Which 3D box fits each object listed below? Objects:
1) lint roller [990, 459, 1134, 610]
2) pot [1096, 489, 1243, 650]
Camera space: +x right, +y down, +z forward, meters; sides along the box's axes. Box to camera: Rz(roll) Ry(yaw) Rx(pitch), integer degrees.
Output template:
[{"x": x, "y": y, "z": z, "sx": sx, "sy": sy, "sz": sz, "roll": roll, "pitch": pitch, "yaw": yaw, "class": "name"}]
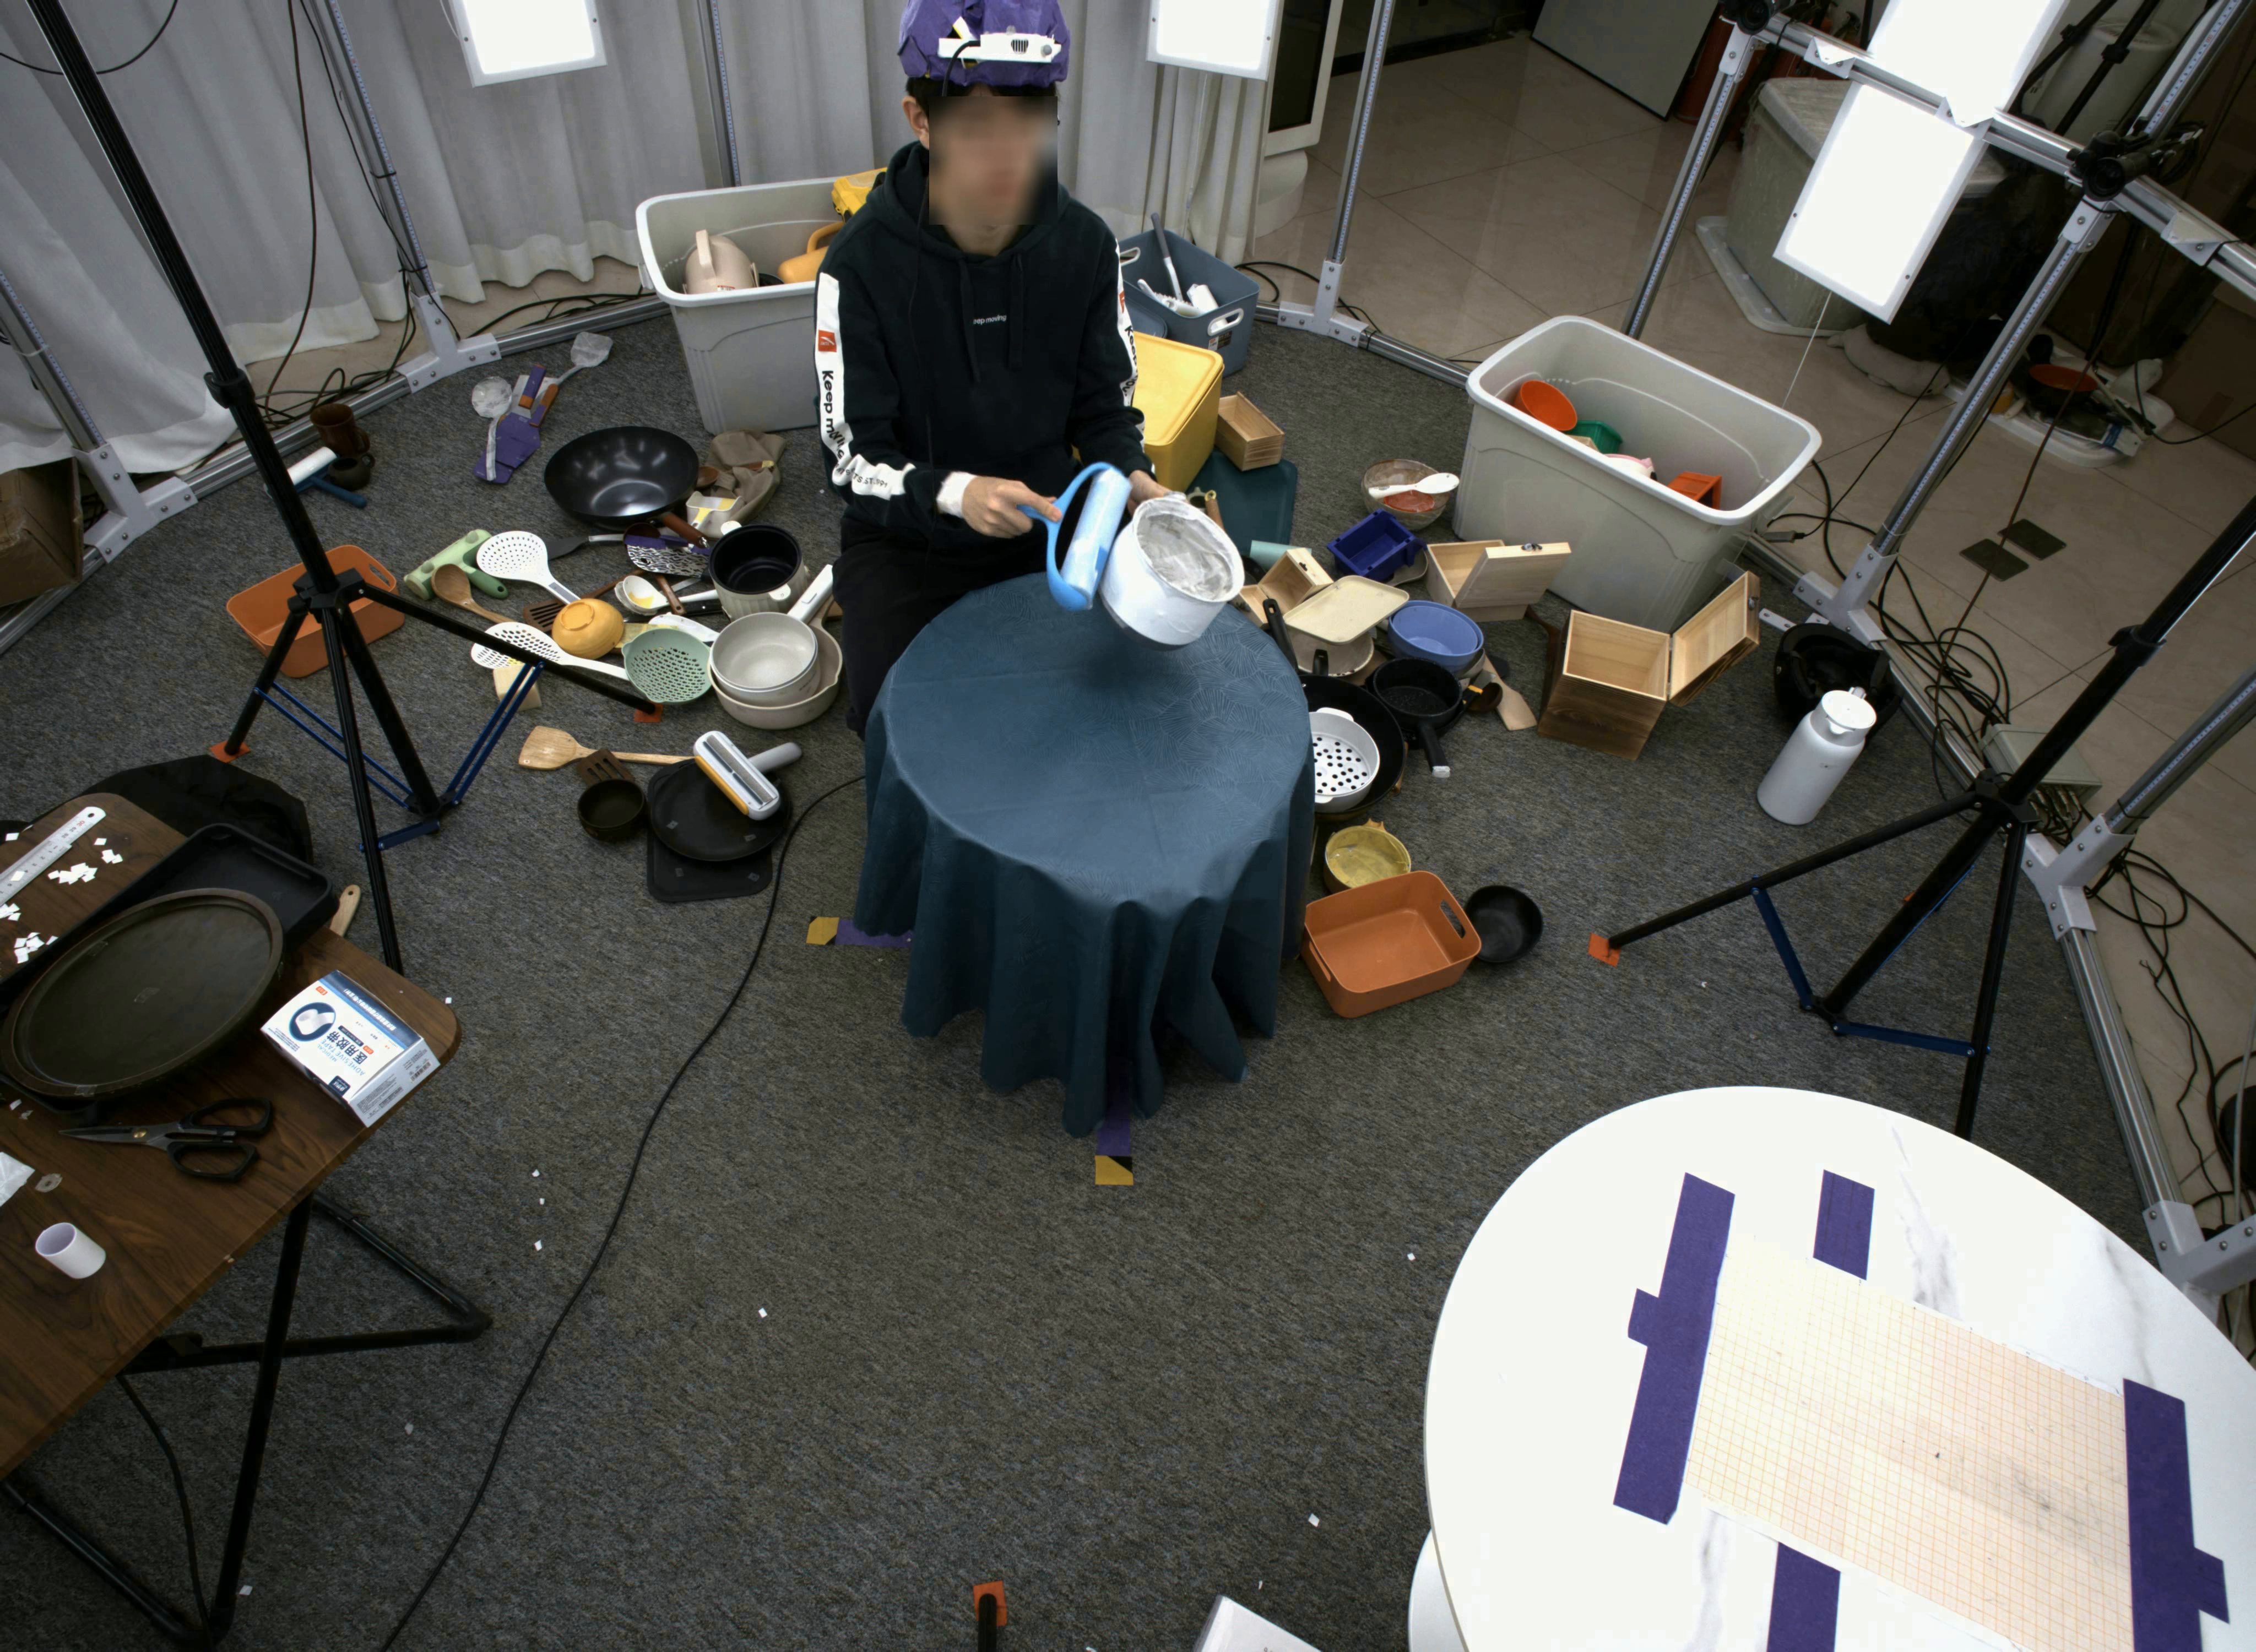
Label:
[{"x": -0.100, "y": -0.401, "z": 1.728, "sx": 0.180, "sy": 0.066, "sz": 0.233, "roll": 12, "pitch": 67, "yaw": 5, "class": "lint roller"}, {"x": 0.047, "y": -0.365, "z": 1.774, "sx": 0.177, "sy": 0.134, "sz": 0.239, "roll": 14, "pitch": 53, "yaw": -28, "class": "pot"}]
